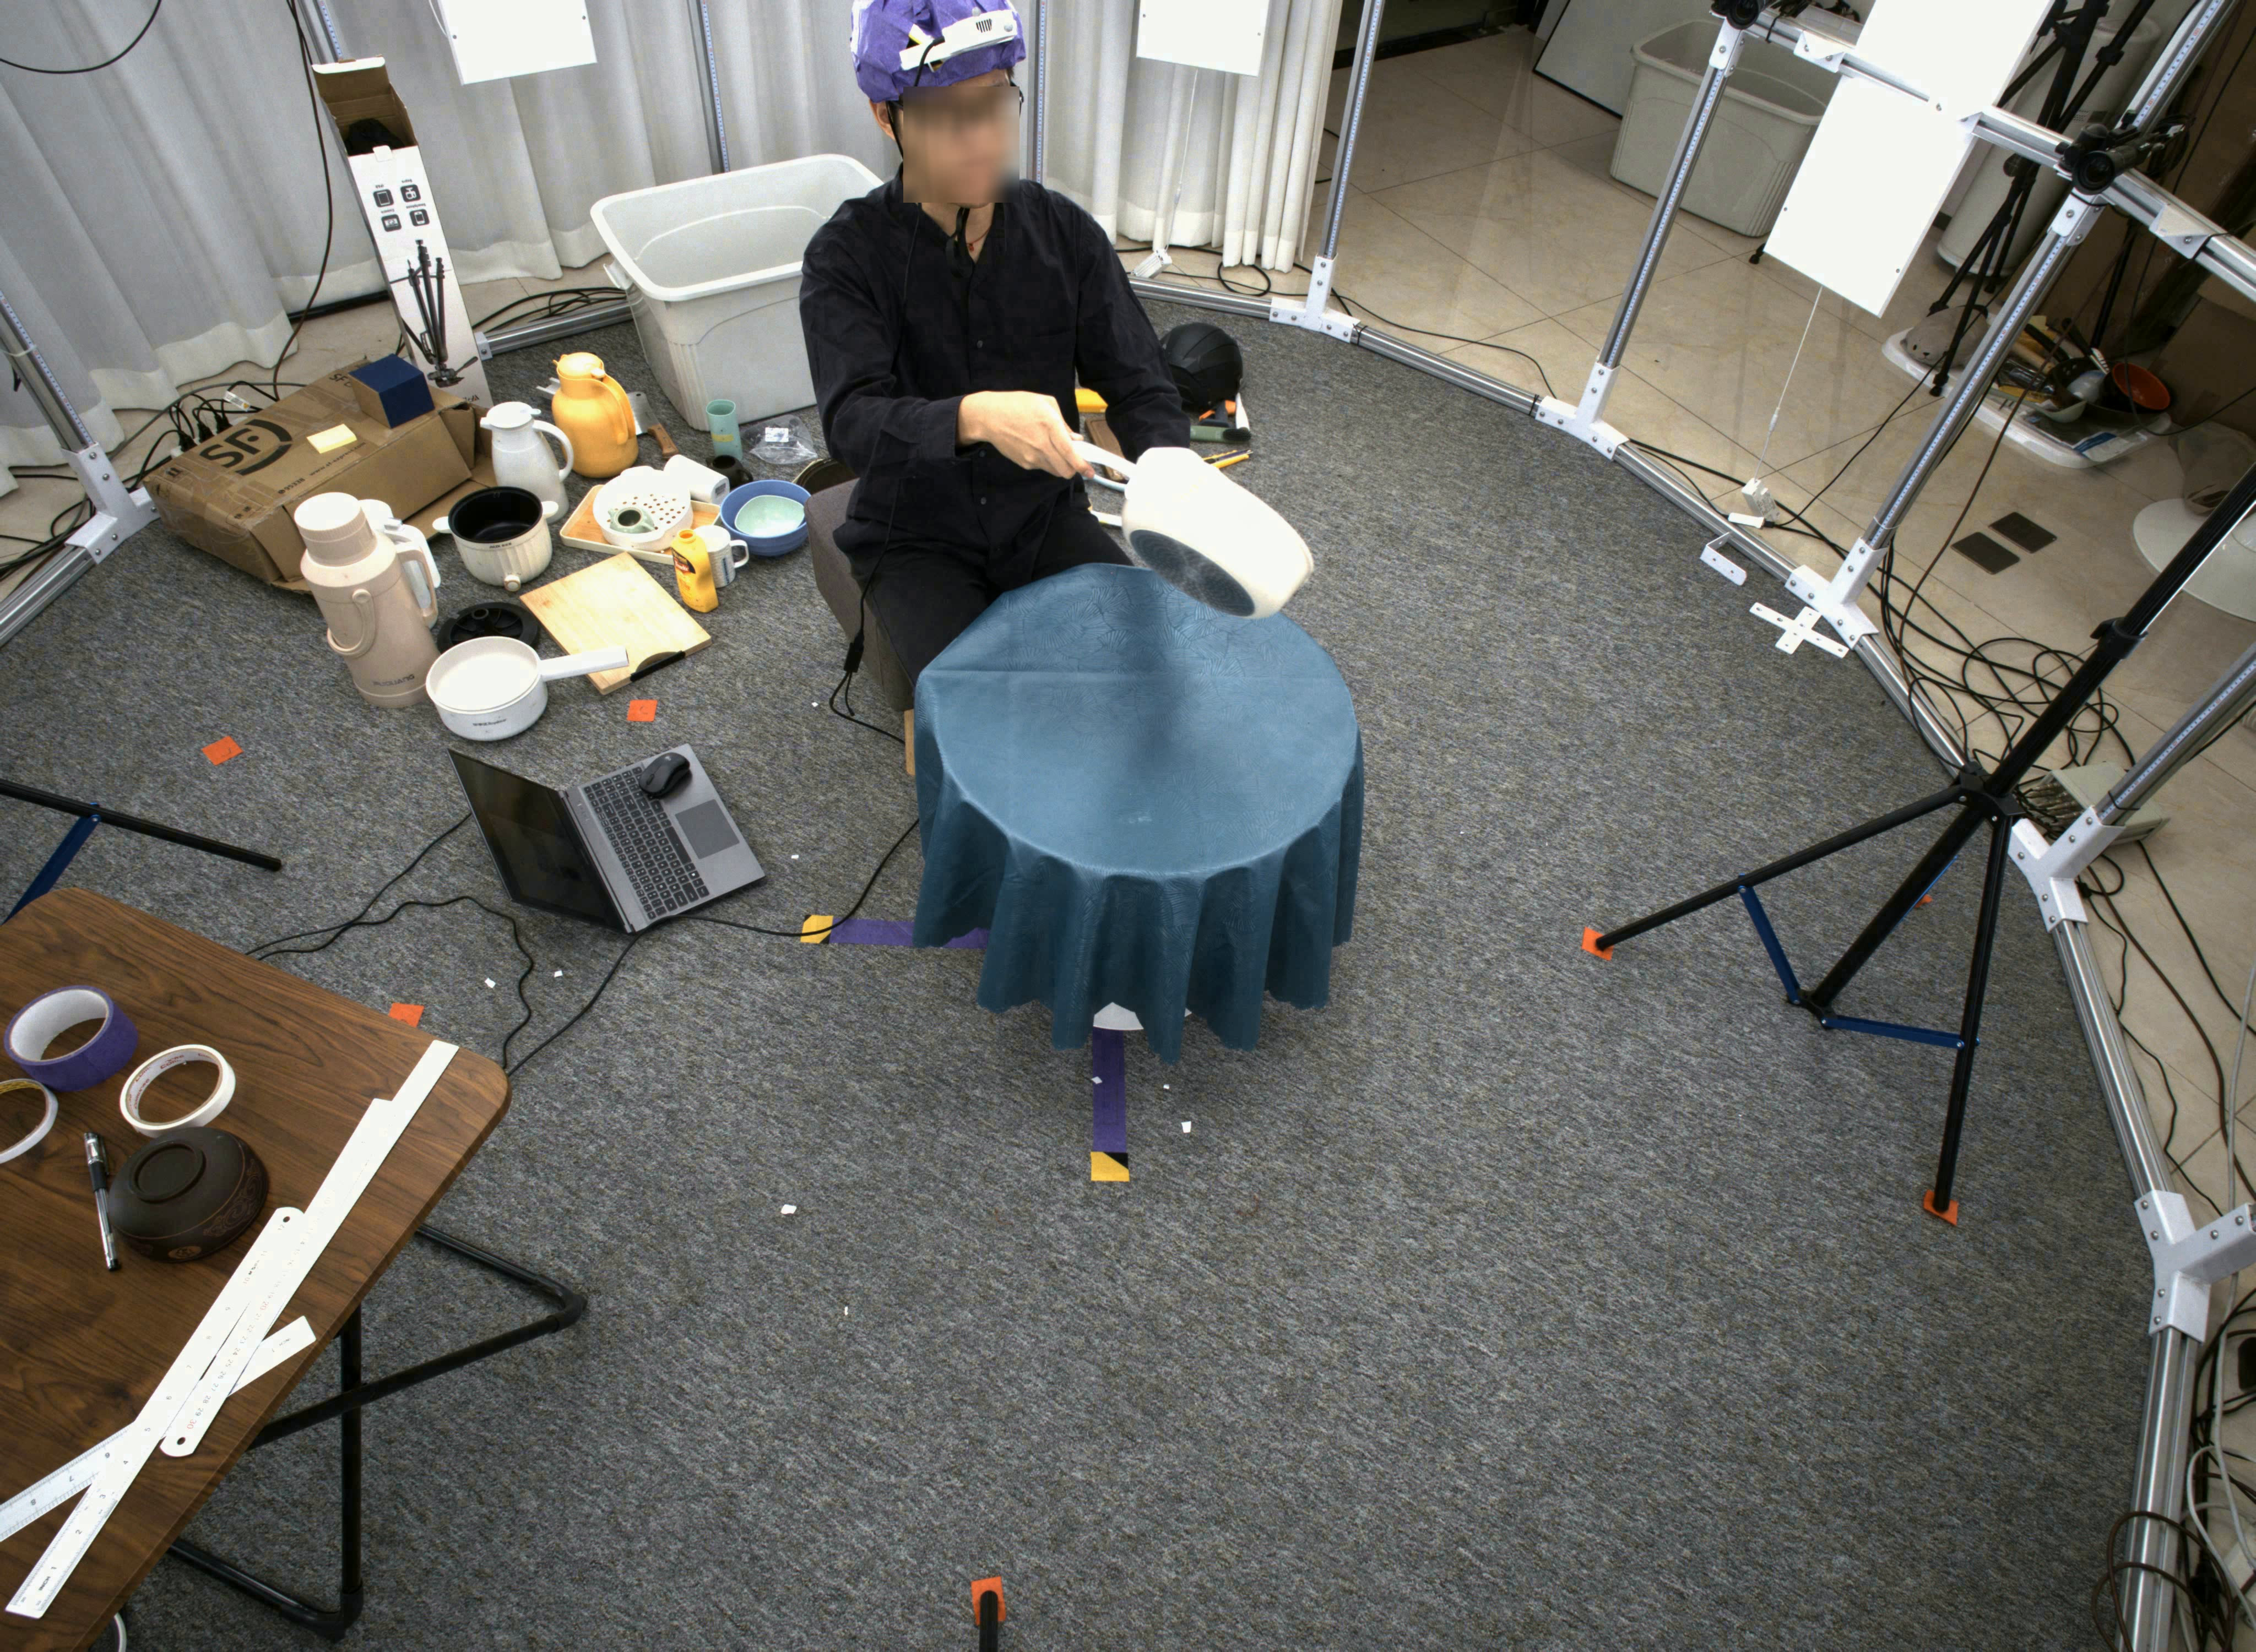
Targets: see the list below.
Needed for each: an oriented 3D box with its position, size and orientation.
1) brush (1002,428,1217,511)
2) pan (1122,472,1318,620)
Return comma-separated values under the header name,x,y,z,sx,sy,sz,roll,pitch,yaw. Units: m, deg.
name,x,y,z,sx,sy,sz,roll,pitch,yaw
brush,-0.017,-0.423,1.512,0.329,0.082,0.084,22,51,41
pan,0.081,-0.355,1.674,0.261,0.437,0.102,31,85,-16
